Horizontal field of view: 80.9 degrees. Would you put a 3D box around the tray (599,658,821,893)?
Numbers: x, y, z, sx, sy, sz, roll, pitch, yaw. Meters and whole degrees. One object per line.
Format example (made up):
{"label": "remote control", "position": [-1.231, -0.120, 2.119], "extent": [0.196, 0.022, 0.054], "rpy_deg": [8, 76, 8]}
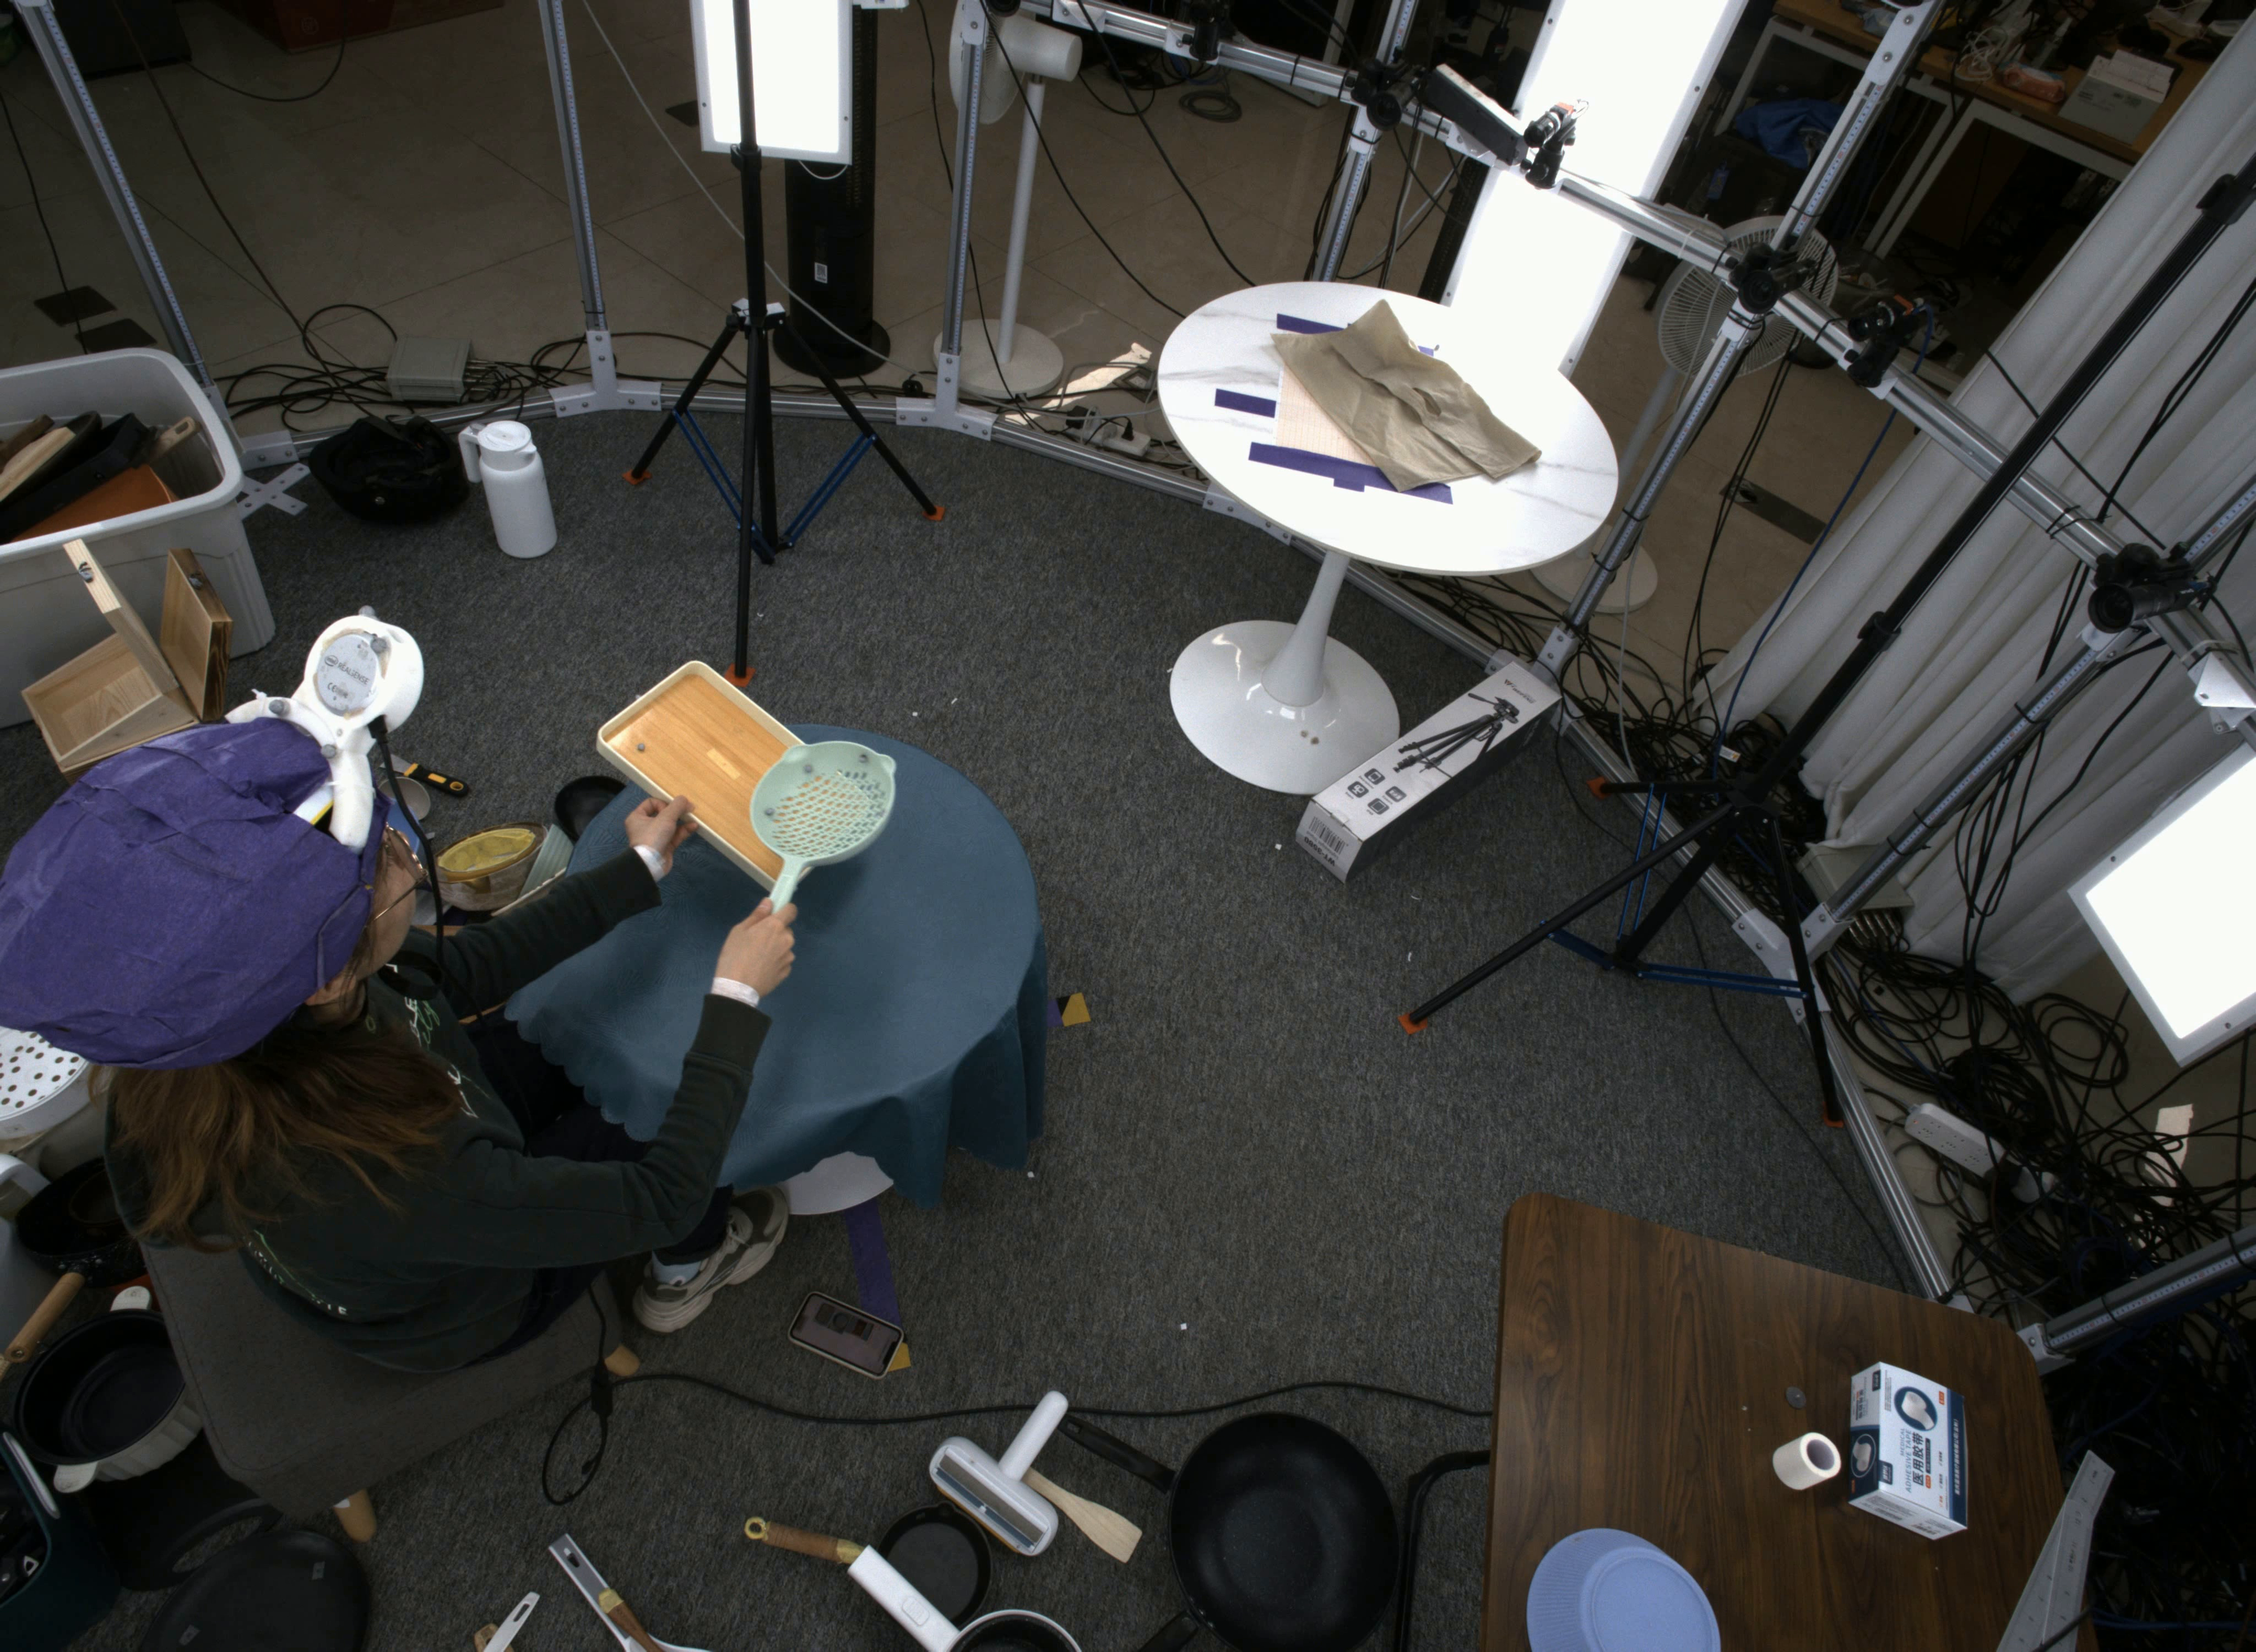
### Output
{"label": "tray", "position": [-0.490, -0.067, 1.604], "extent": [0.301, 0.027, 0.191], "rpy_deg": [39, 47, -4]}

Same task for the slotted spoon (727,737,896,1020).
{"label": "slotted spoon", "position": [-0.371, 0.048, 1.440], "extent": [0.165, 0.078, 0.354], "rpy_deg": [8, 48, 12]}
